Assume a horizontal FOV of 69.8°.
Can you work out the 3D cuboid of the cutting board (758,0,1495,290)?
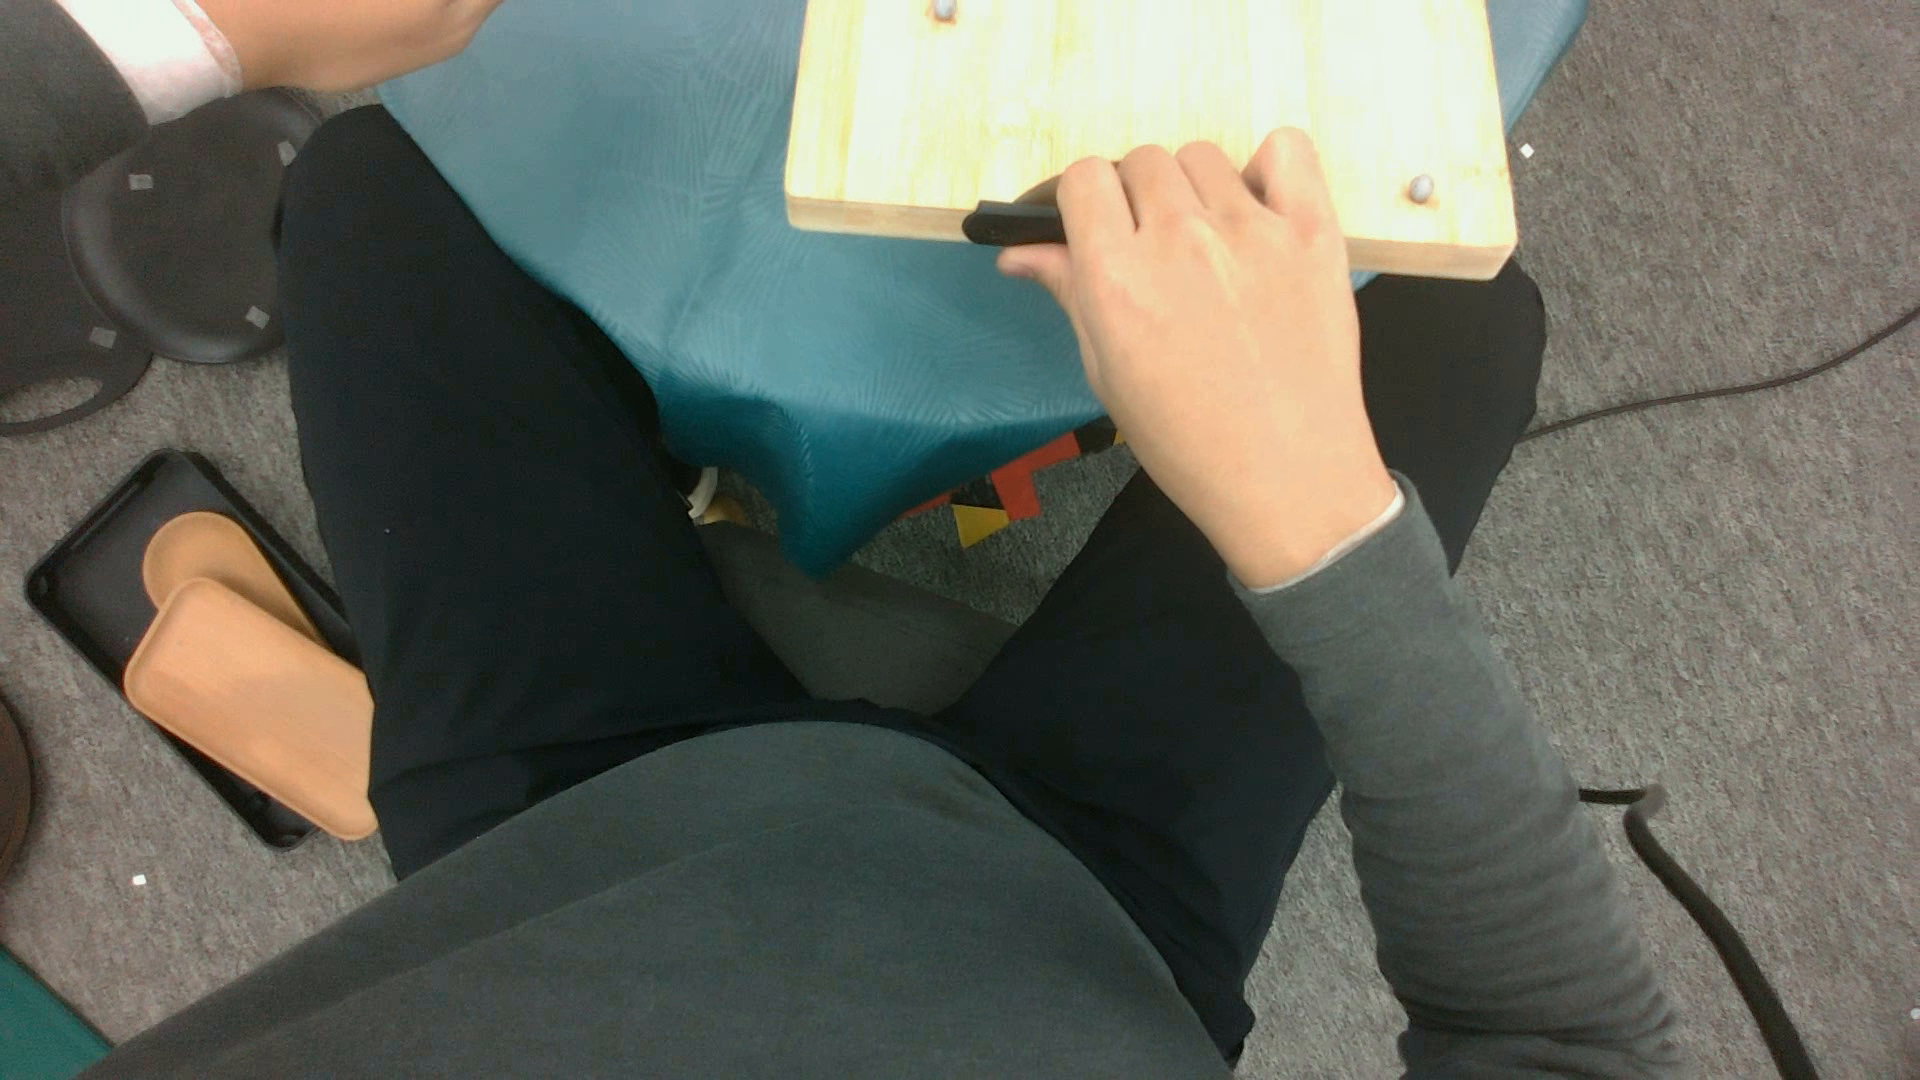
[{"bbox_3d":[0.064,-0.250,0.530,0.251,0.023,0.350,3,64,-2],"label":"cutting board"}]
